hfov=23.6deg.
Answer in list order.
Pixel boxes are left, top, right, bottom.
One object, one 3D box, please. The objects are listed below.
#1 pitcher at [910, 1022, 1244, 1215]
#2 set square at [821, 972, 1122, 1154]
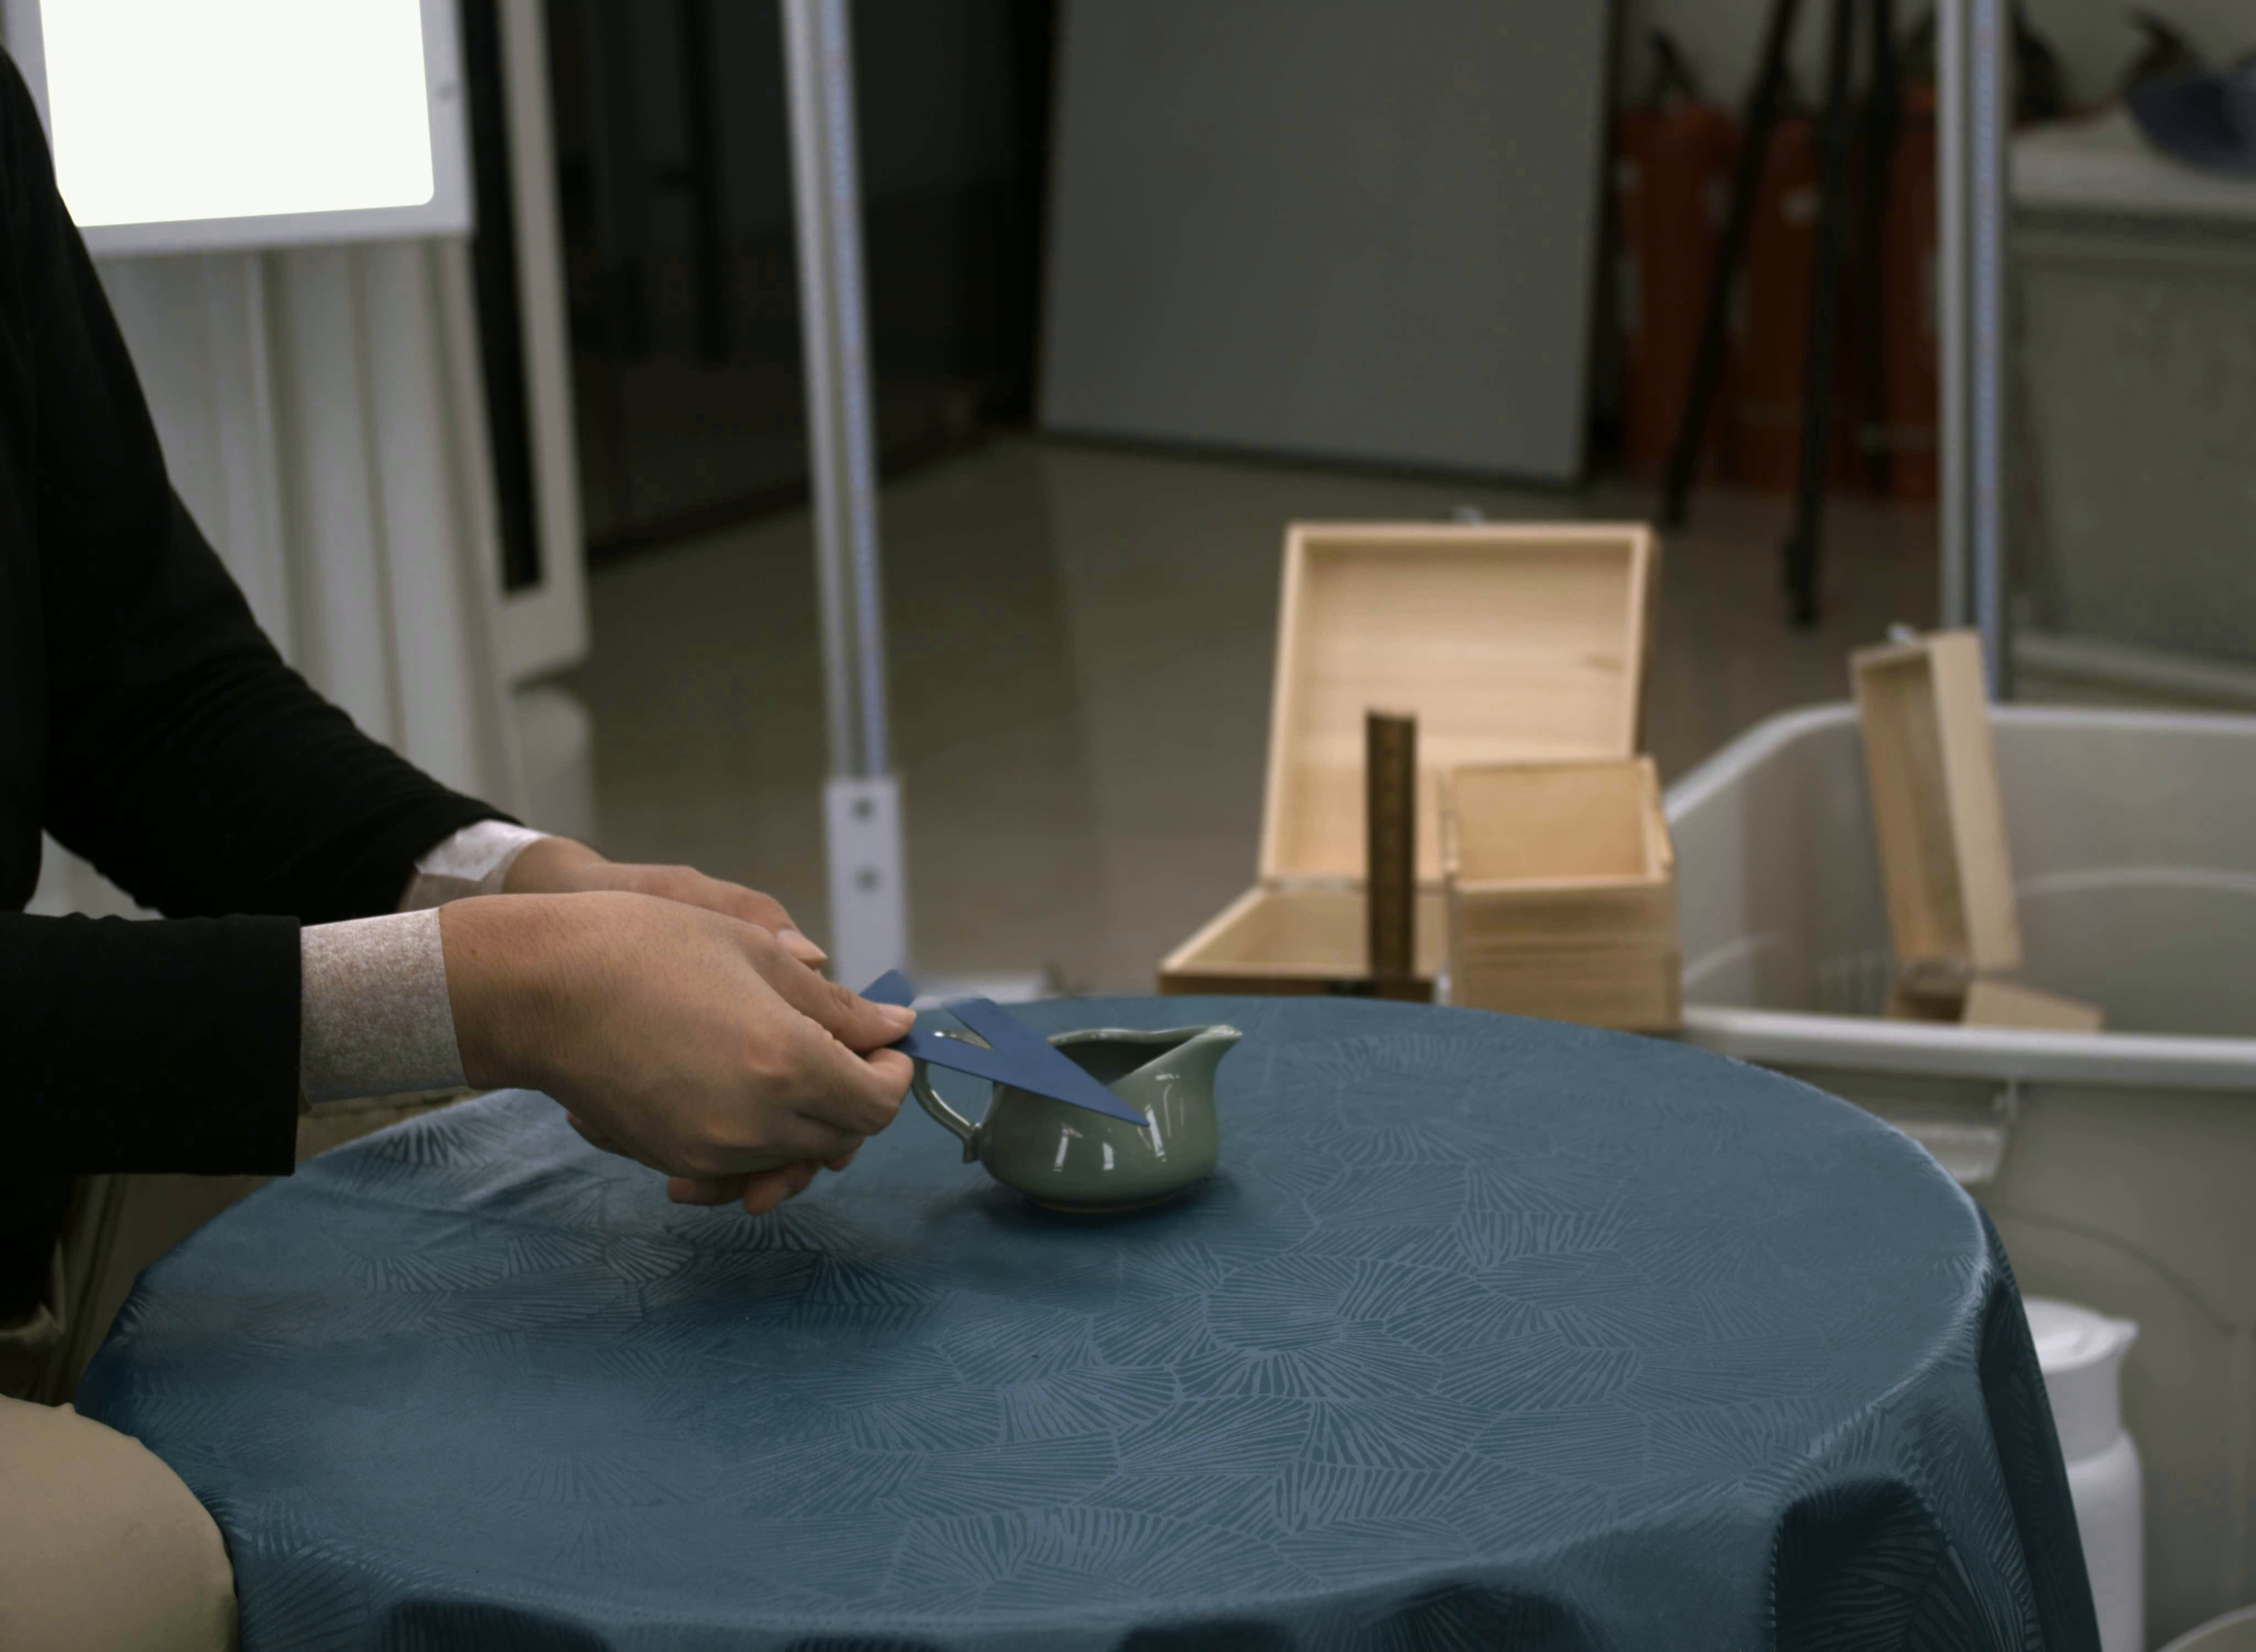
[{"bbox_3d":[-0.015,0.094,1.768,0.112,0.057,0.084,-2,11,10],"label":"pitcher"},{"bbox_3d":[-0.054,0.077,1.706,0.060,0.006,0.133,-9,27,-28],"label":"set square"}]
